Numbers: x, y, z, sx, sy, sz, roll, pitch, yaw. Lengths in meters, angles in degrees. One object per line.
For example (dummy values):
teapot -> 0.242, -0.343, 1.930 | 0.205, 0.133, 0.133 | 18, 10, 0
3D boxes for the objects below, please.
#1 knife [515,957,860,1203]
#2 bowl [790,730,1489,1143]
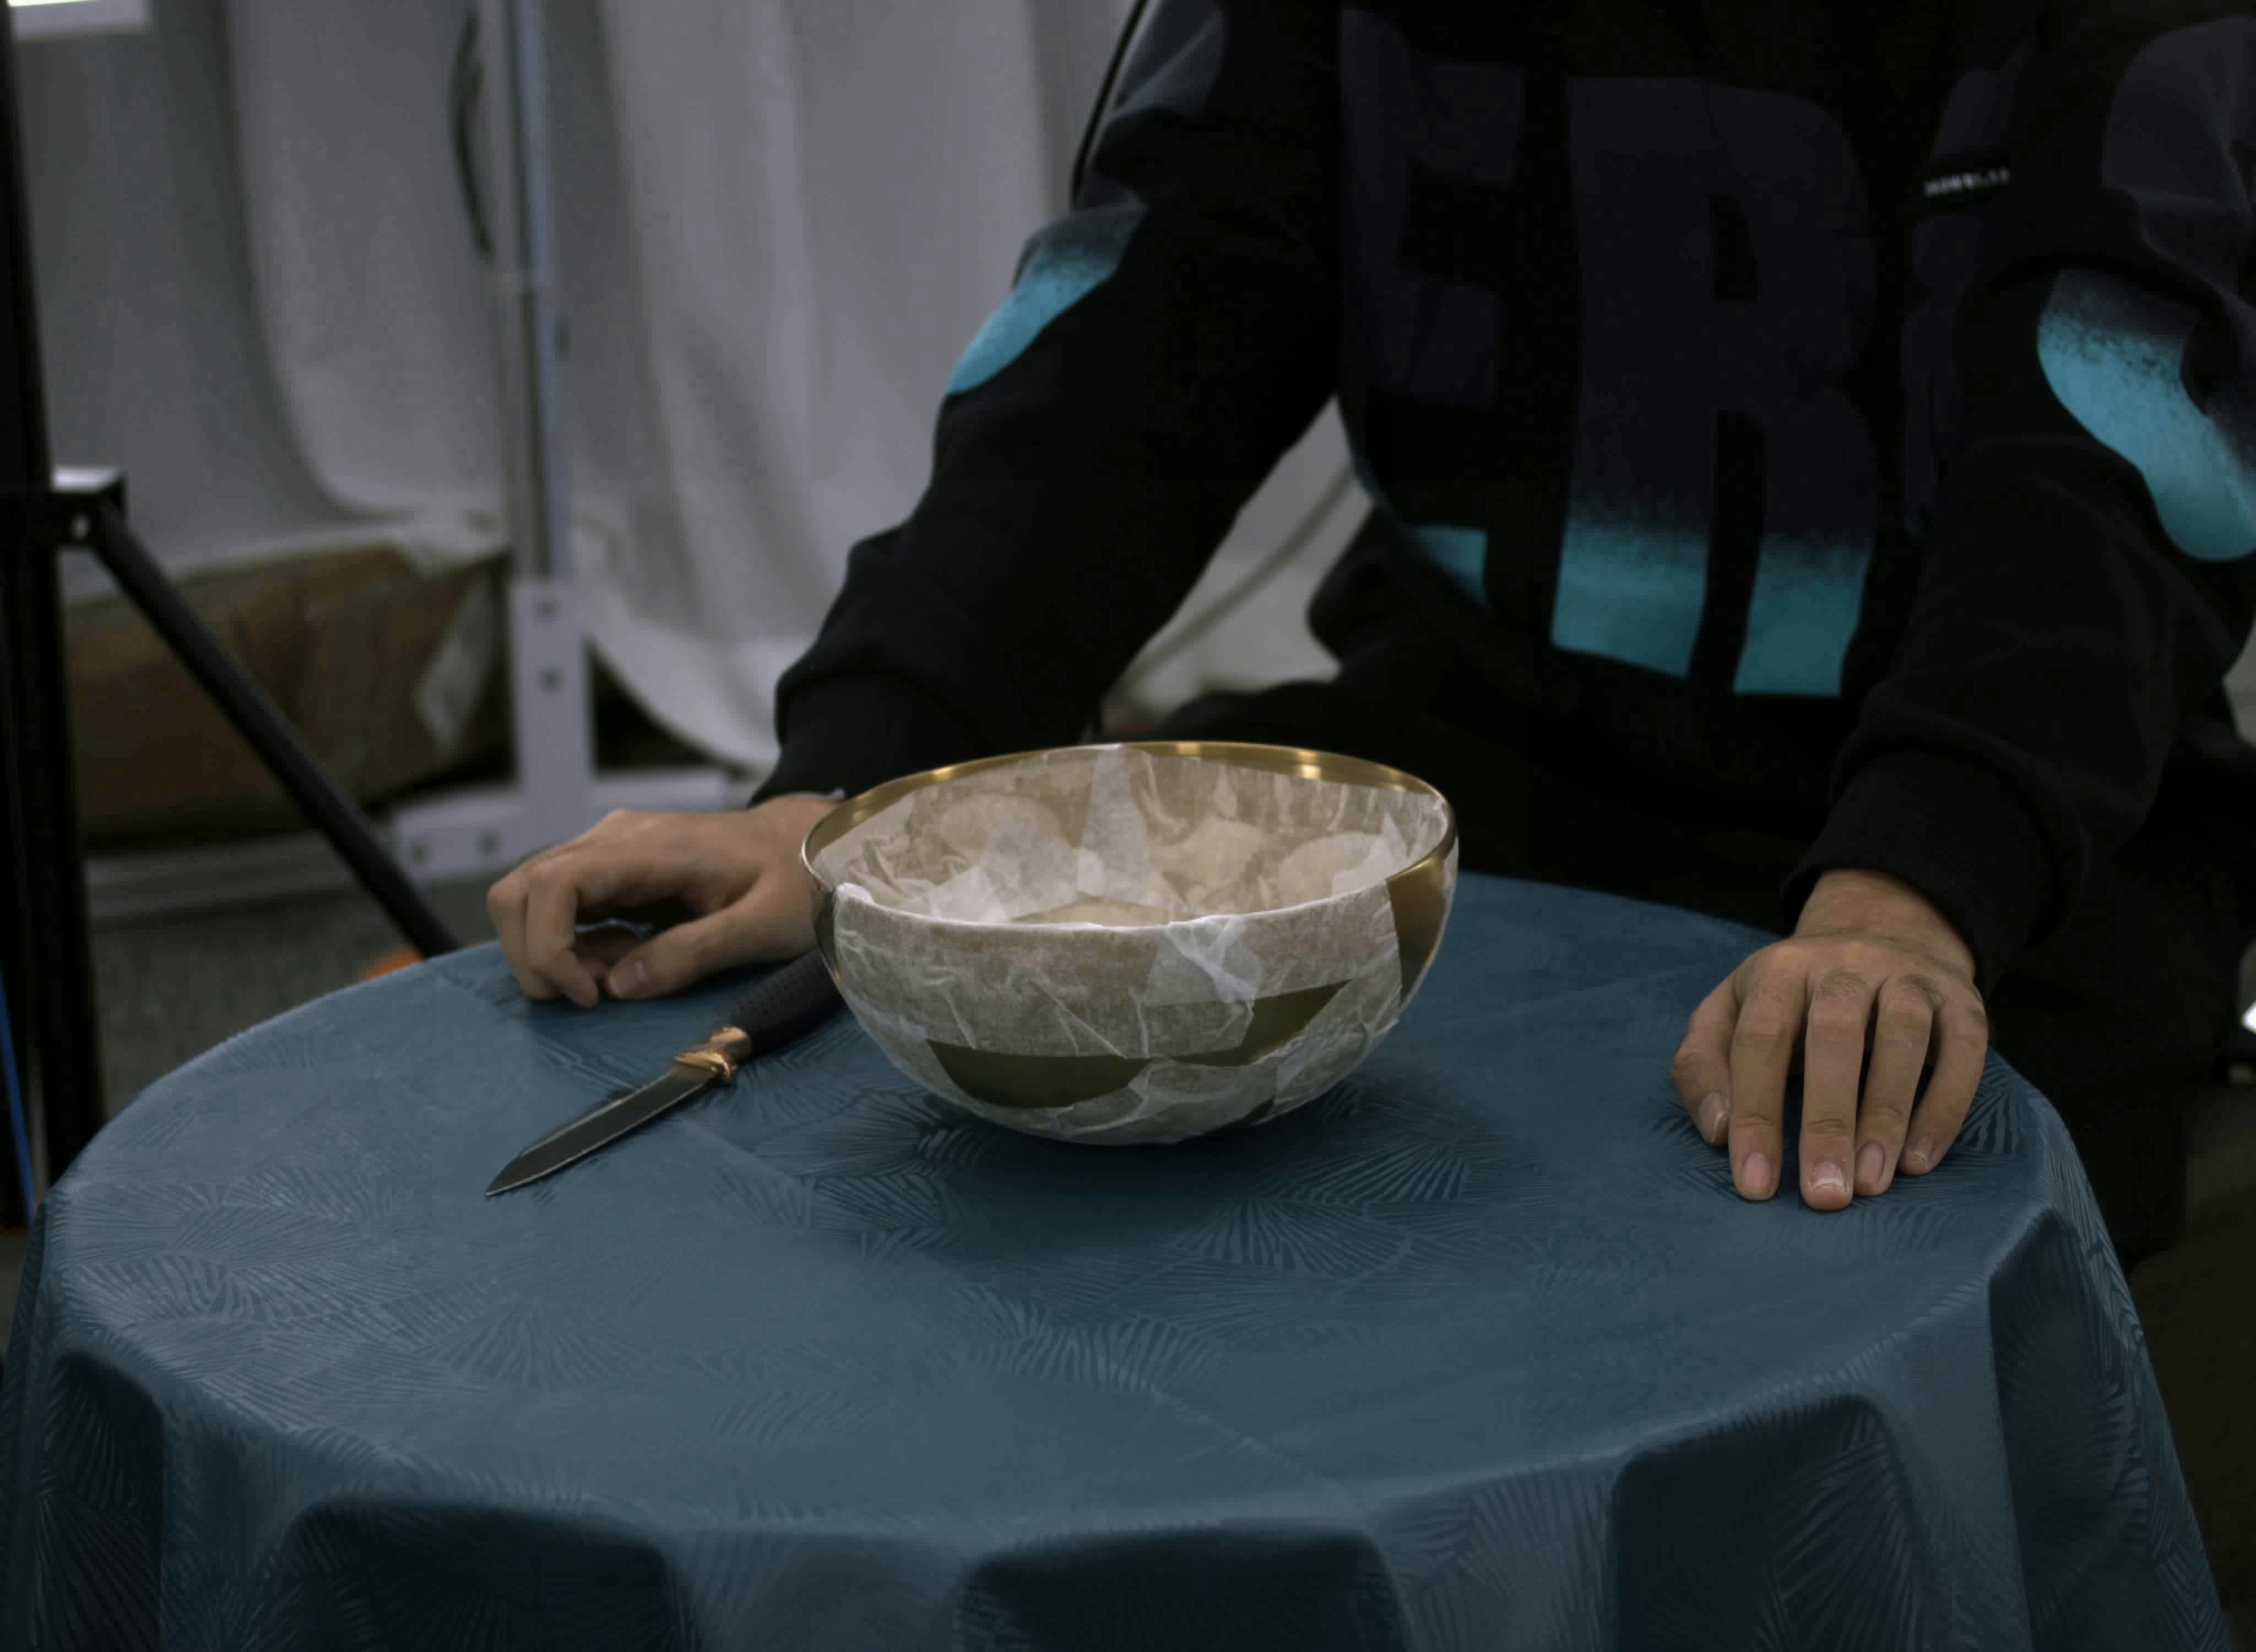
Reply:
knife -> -0.136, 0.078, 1.670 | 0.026, 0.017, 0.222 | 13, 22, 23
bowl -> 0.005, 0.042, 1.617 | 0.214, 0.094, 0.216 | -4, 15, 0
